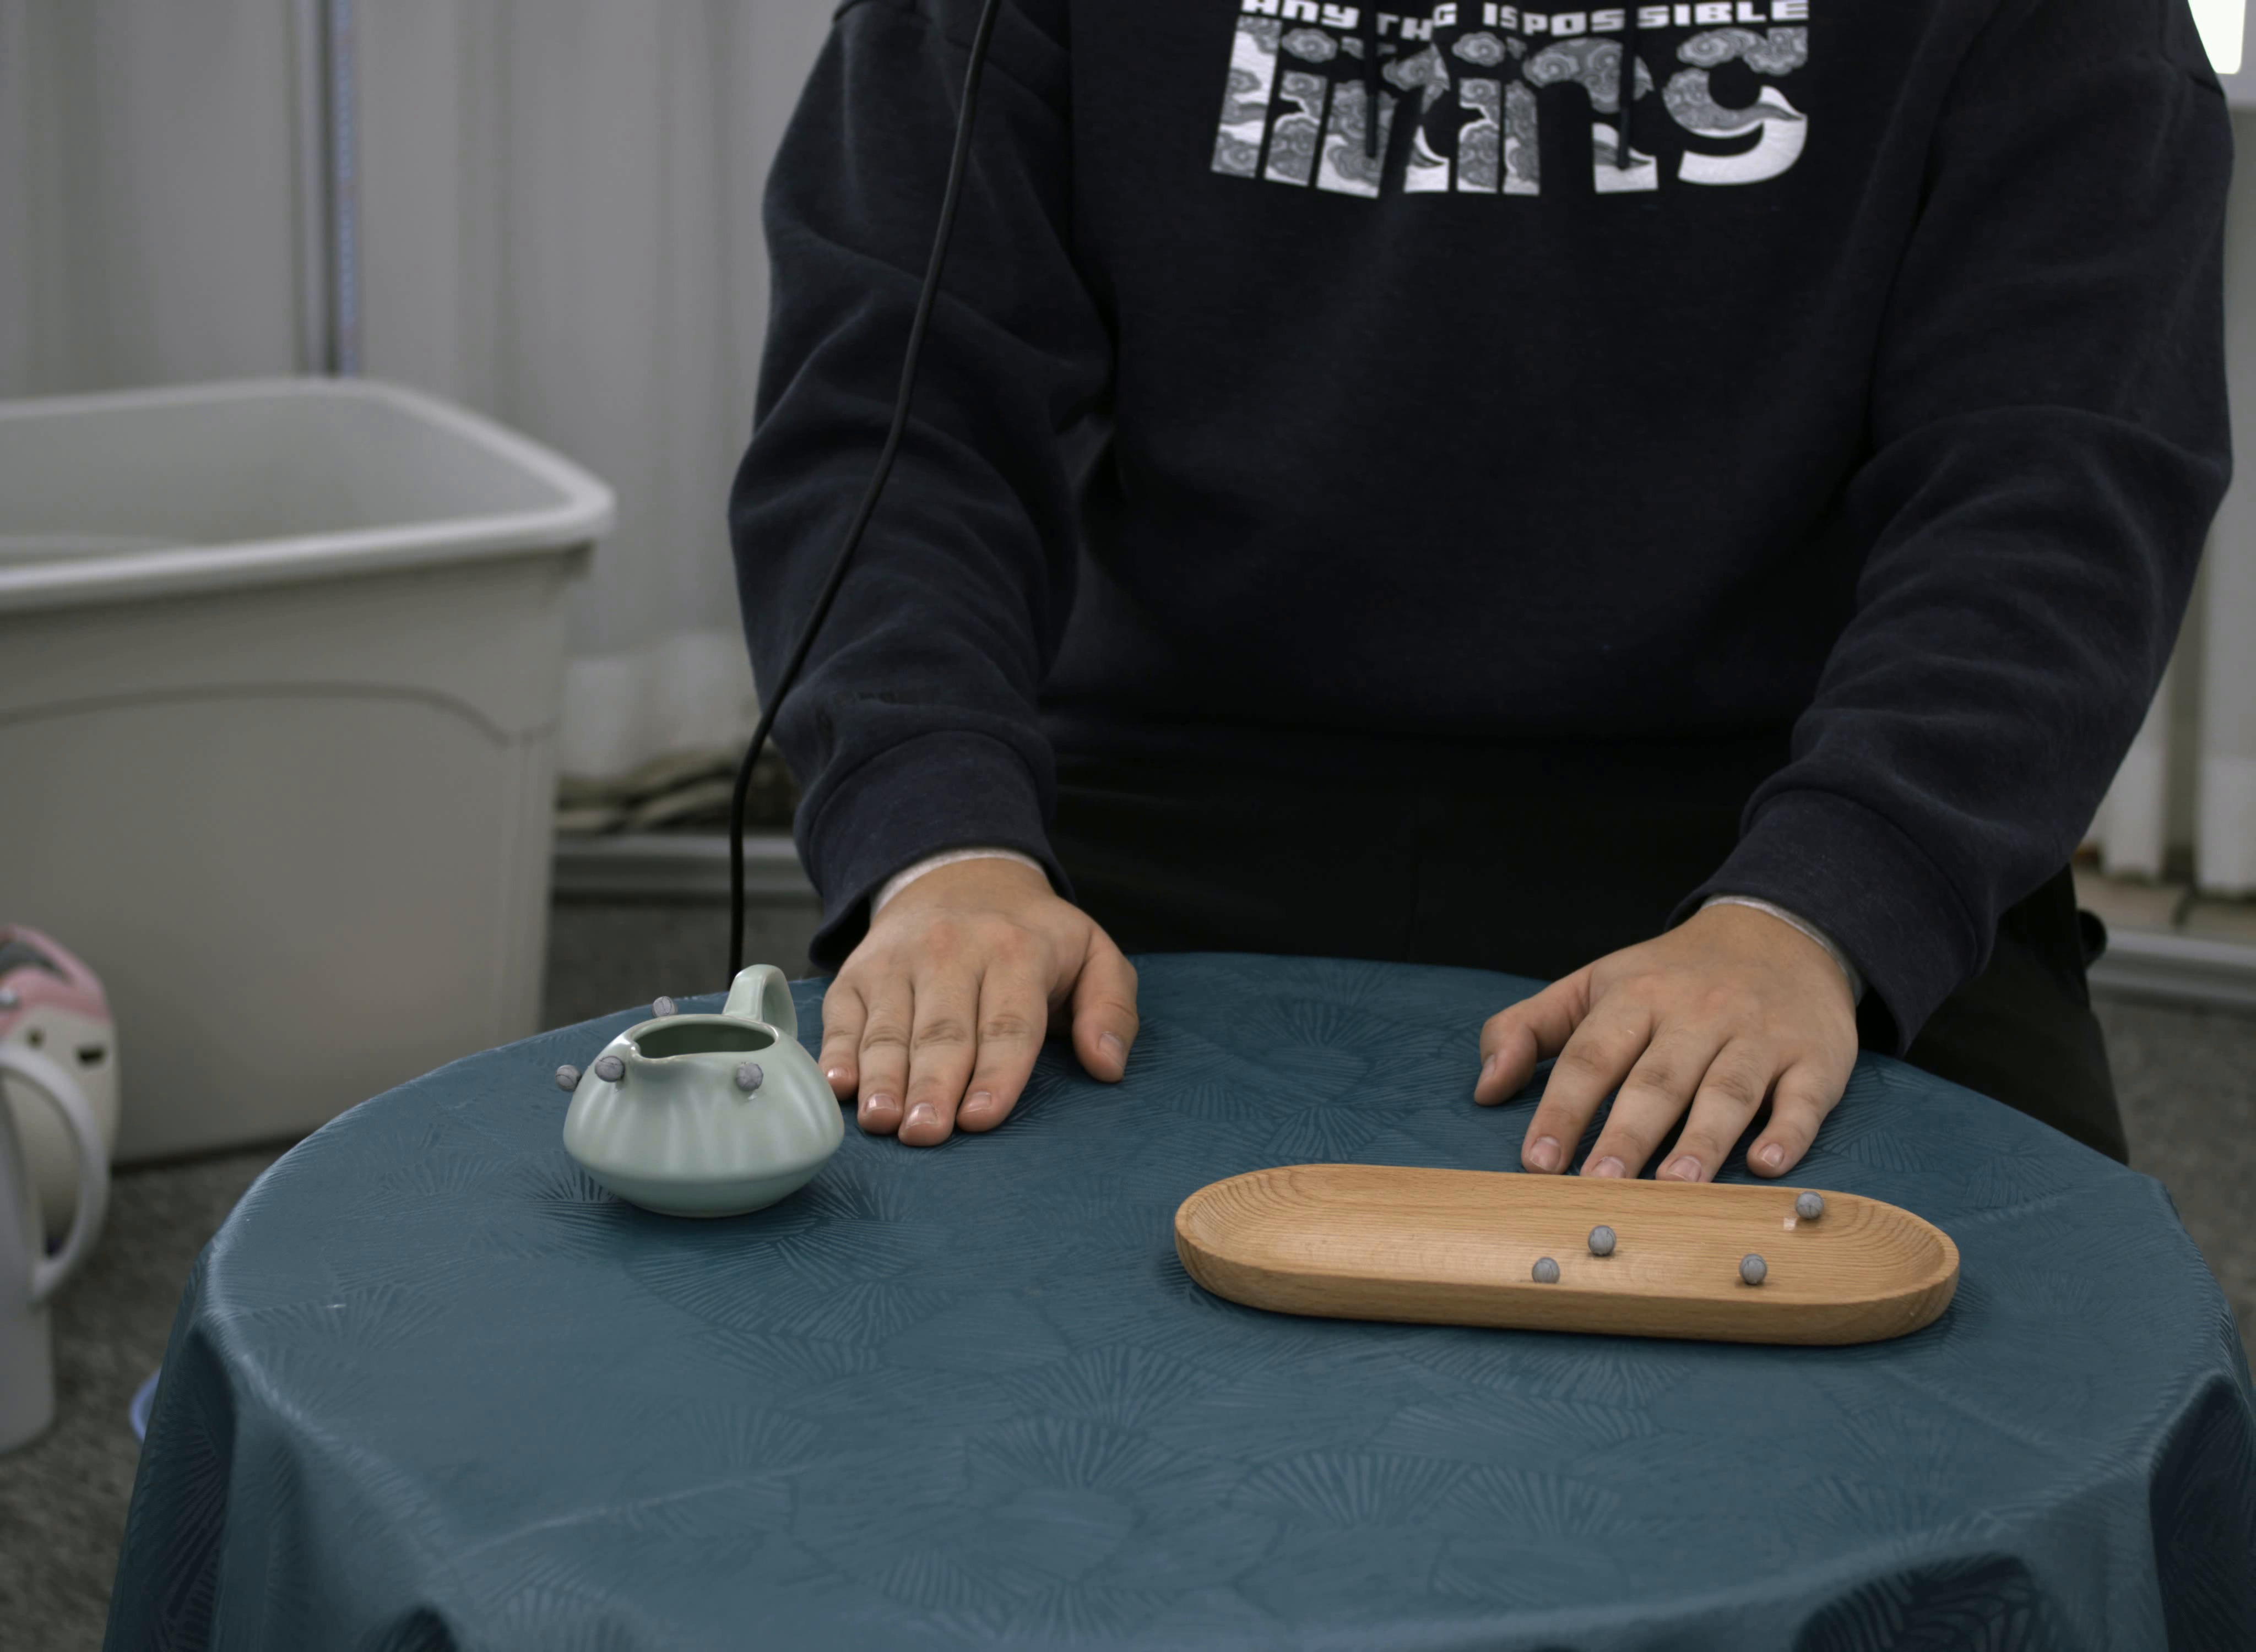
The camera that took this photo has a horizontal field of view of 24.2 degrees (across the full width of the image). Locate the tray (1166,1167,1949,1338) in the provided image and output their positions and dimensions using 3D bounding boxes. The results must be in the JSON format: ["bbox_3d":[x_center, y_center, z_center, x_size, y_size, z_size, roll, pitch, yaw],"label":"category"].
[{"bbox_3d":[0.126,0.126,1.555,0.230,0.020,0.101,1,14,7],"label":"tray"}]

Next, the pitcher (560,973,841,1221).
[{"bbox_3d":[-0.127,0.084,1.621,0.085,0.061,0.108,6,14,15],"label":"pitcher"}]
